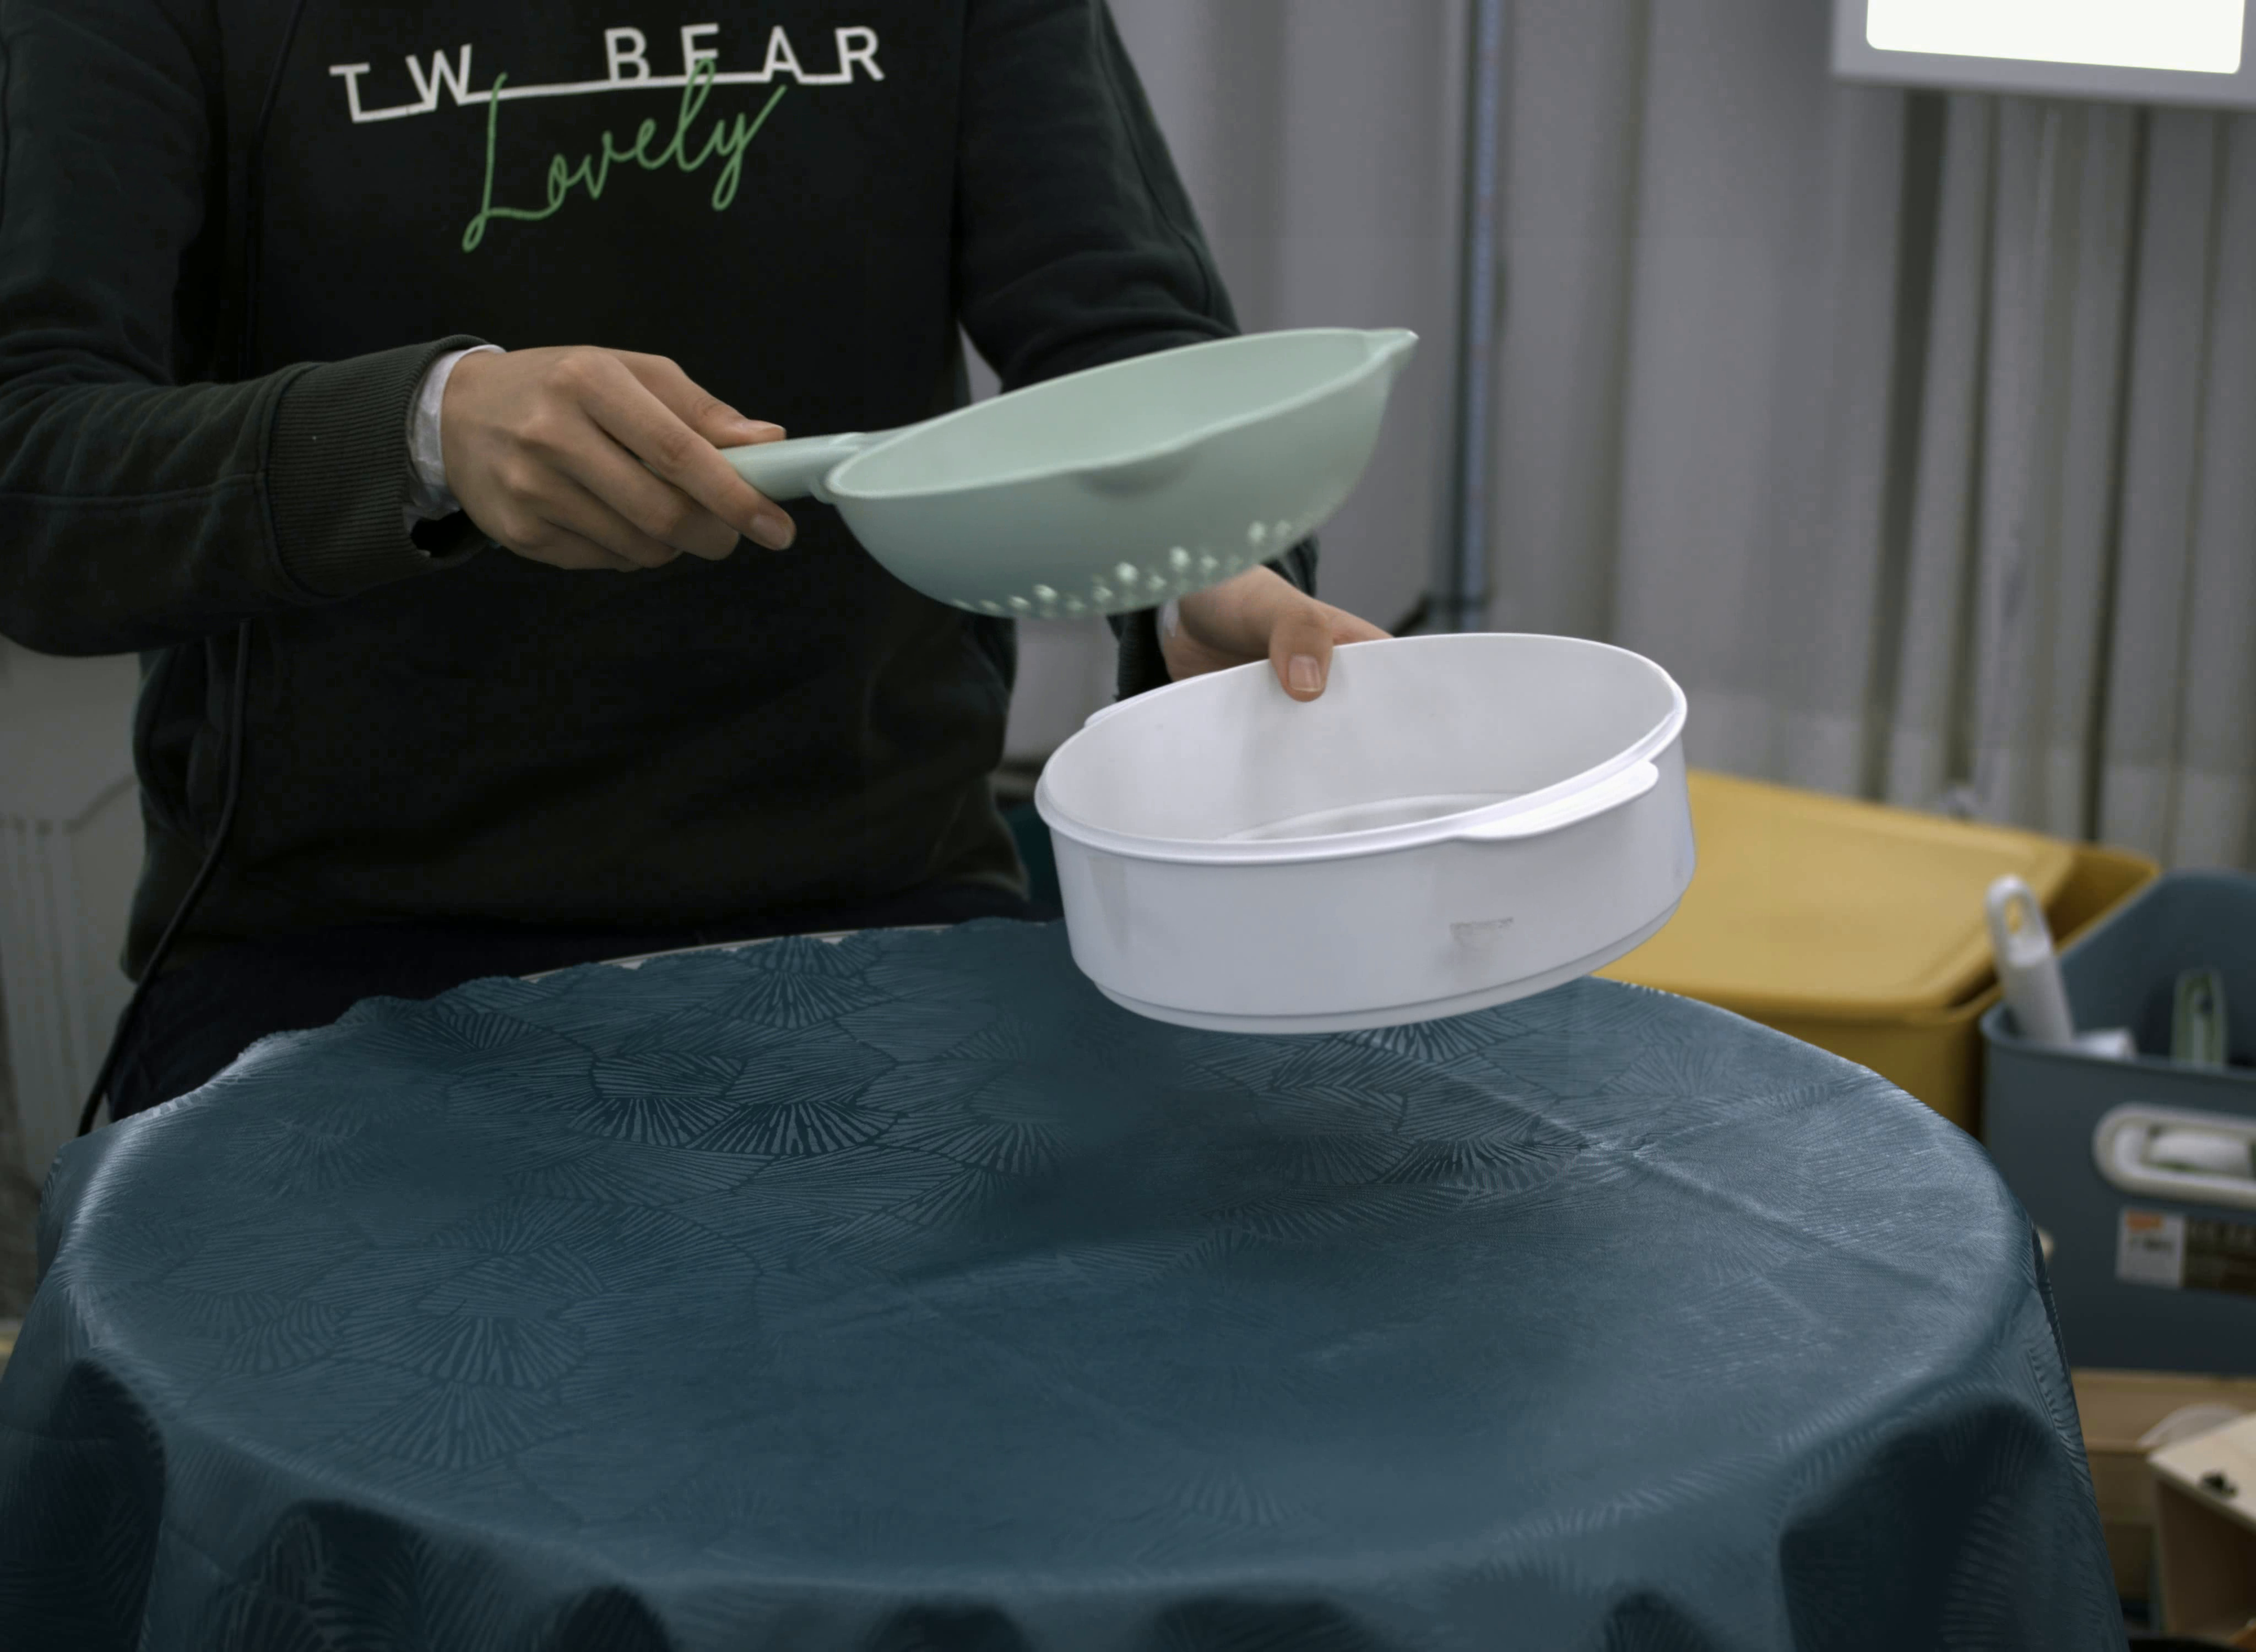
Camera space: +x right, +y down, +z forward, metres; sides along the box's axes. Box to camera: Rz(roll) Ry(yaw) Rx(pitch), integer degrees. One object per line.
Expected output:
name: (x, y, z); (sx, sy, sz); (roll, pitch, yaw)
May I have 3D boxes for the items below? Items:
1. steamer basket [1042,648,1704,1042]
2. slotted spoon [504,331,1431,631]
steamer basket: (0.077, 0.005, 1.605); (0.202, 0.070, 0.227); (-20, 21, -32)
slotted spoon: (-0.071, -0.105, 1.607); (0.354, 0.076, 0.170); (7, 24, 39)
